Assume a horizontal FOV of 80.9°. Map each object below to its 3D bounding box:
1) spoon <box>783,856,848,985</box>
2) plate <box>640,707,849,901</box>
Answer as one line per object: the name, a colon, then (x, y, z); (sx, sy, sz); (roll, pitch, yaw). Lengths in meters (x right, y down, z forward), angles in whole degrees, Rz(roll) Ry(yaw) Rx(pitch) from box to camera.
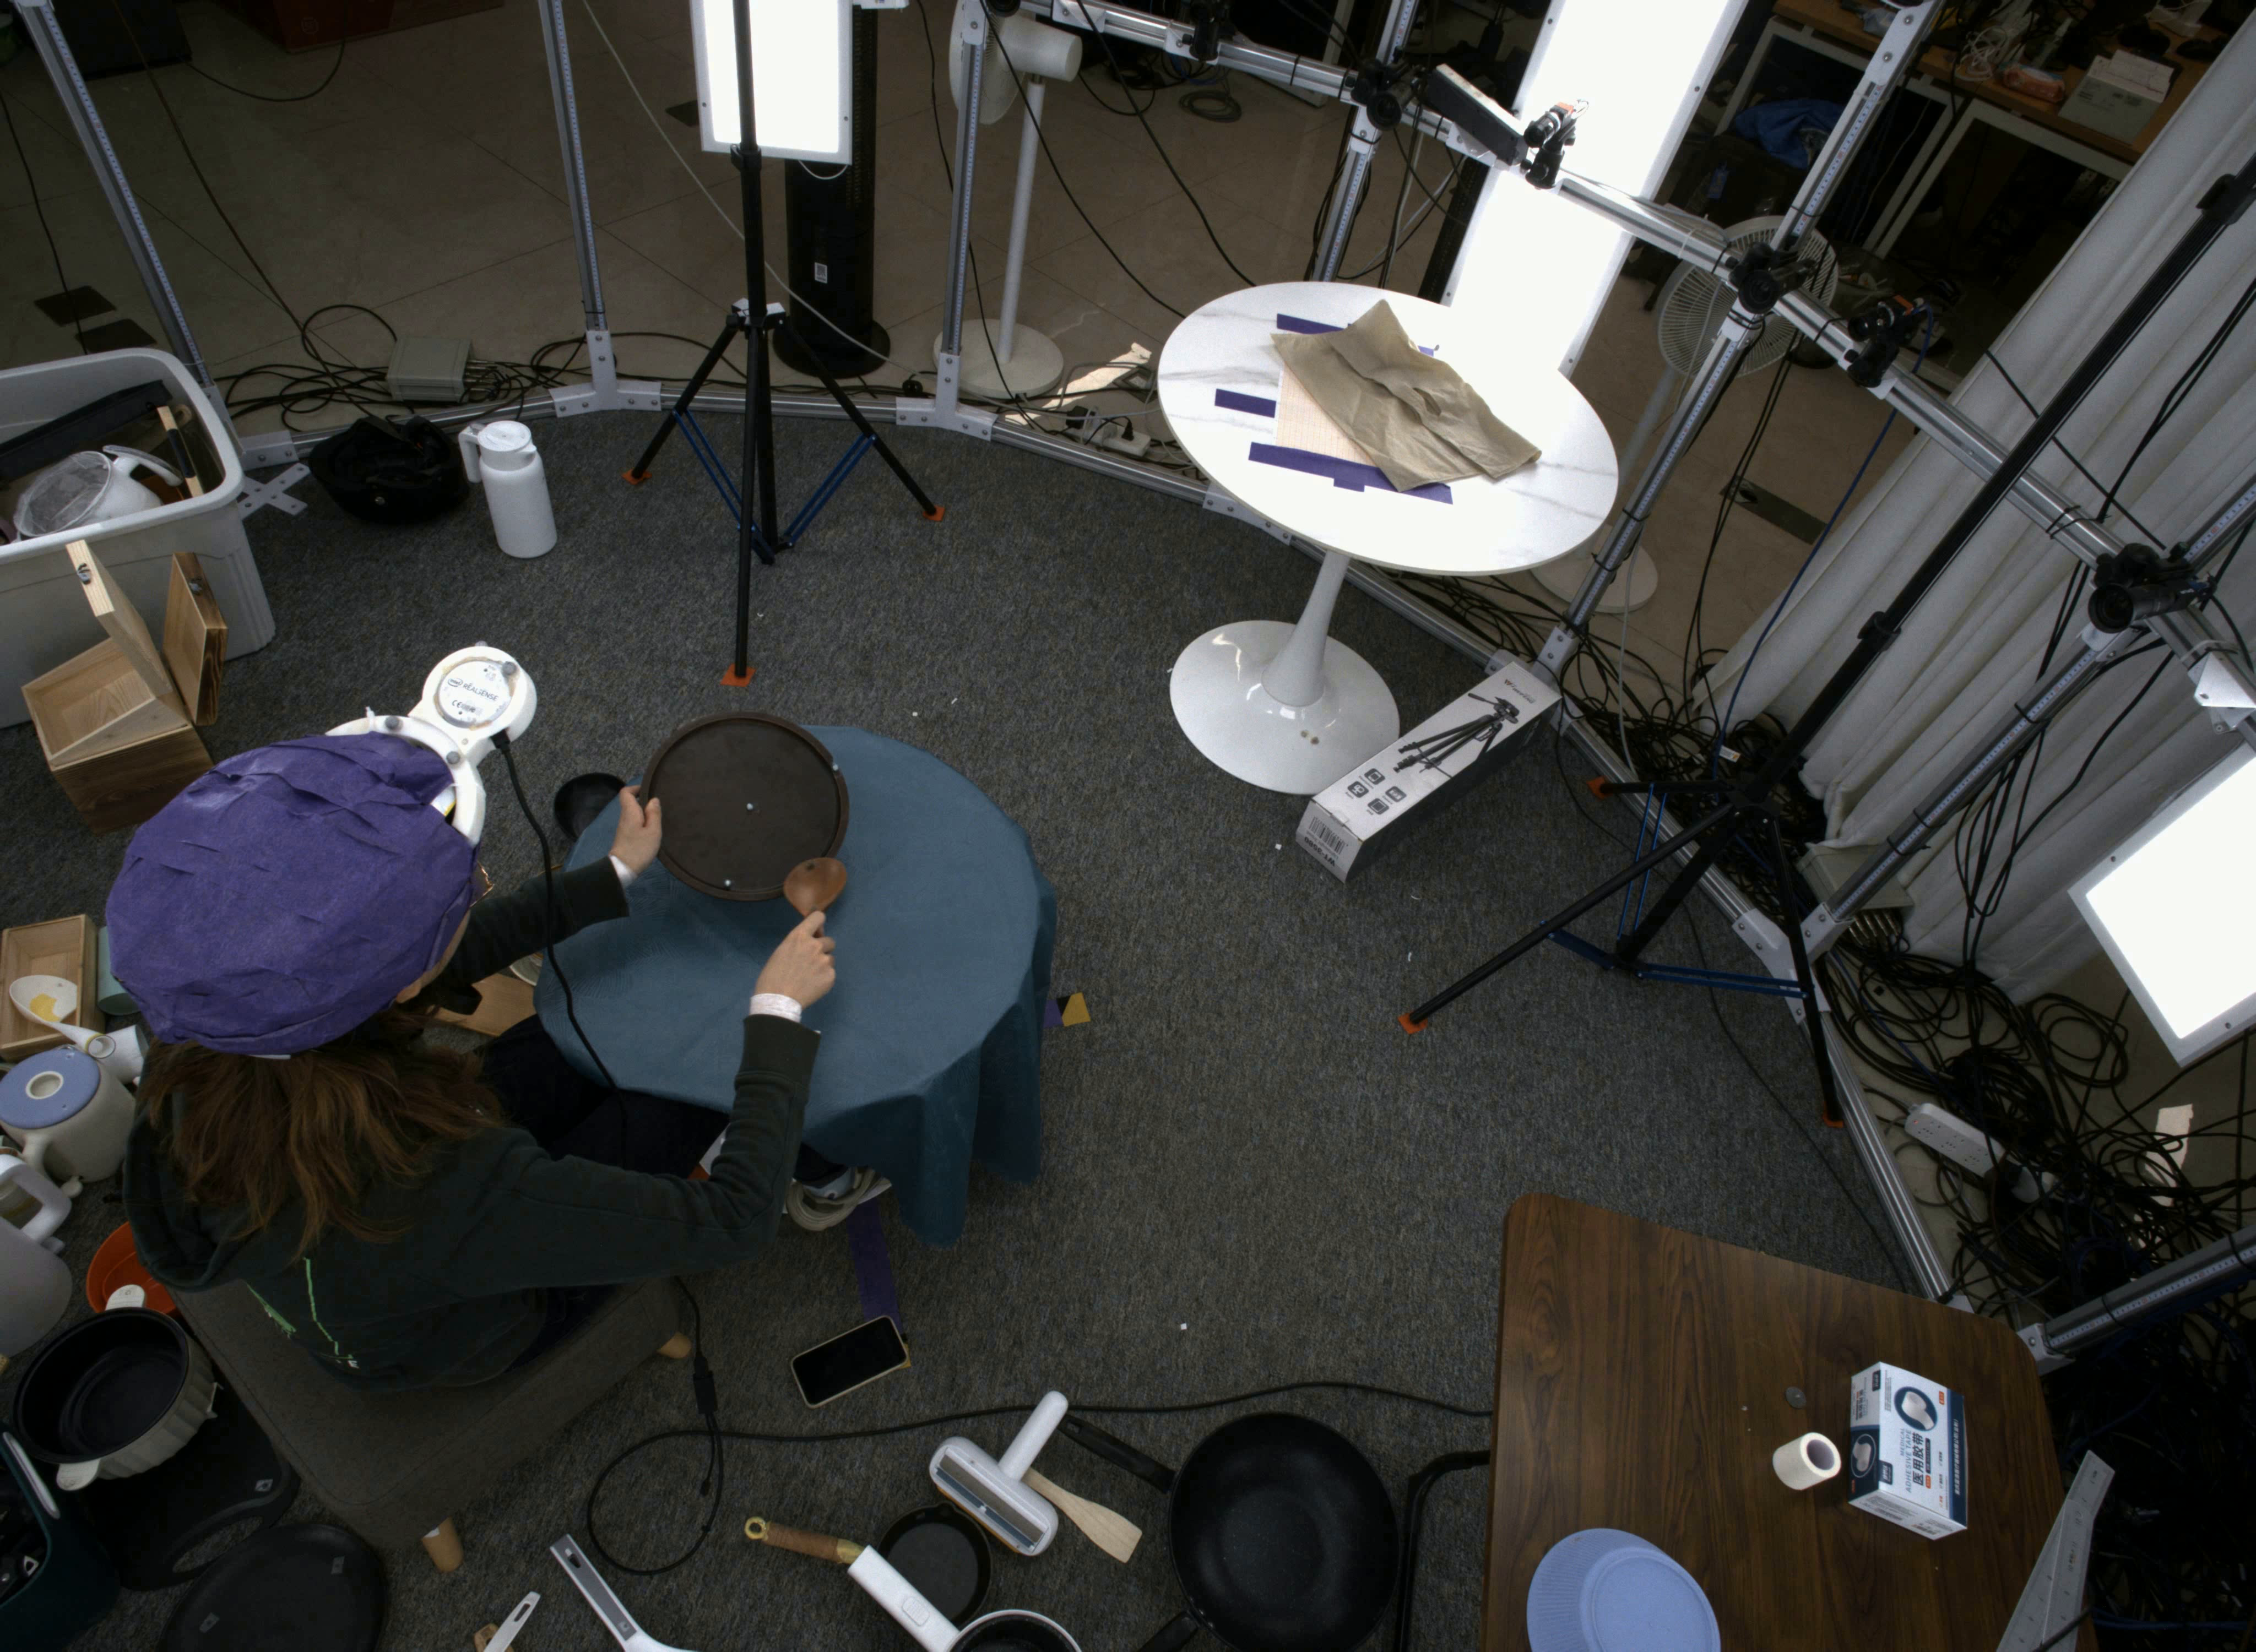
spoon: (-0.357, 0.102, 1.467); (0.075, 0.018, 0.210); (-7, 36, -4)
plate: (-0.474, -0.029, 1.598); (0.257, 0.029, 0.252); (9, 67, -20)
